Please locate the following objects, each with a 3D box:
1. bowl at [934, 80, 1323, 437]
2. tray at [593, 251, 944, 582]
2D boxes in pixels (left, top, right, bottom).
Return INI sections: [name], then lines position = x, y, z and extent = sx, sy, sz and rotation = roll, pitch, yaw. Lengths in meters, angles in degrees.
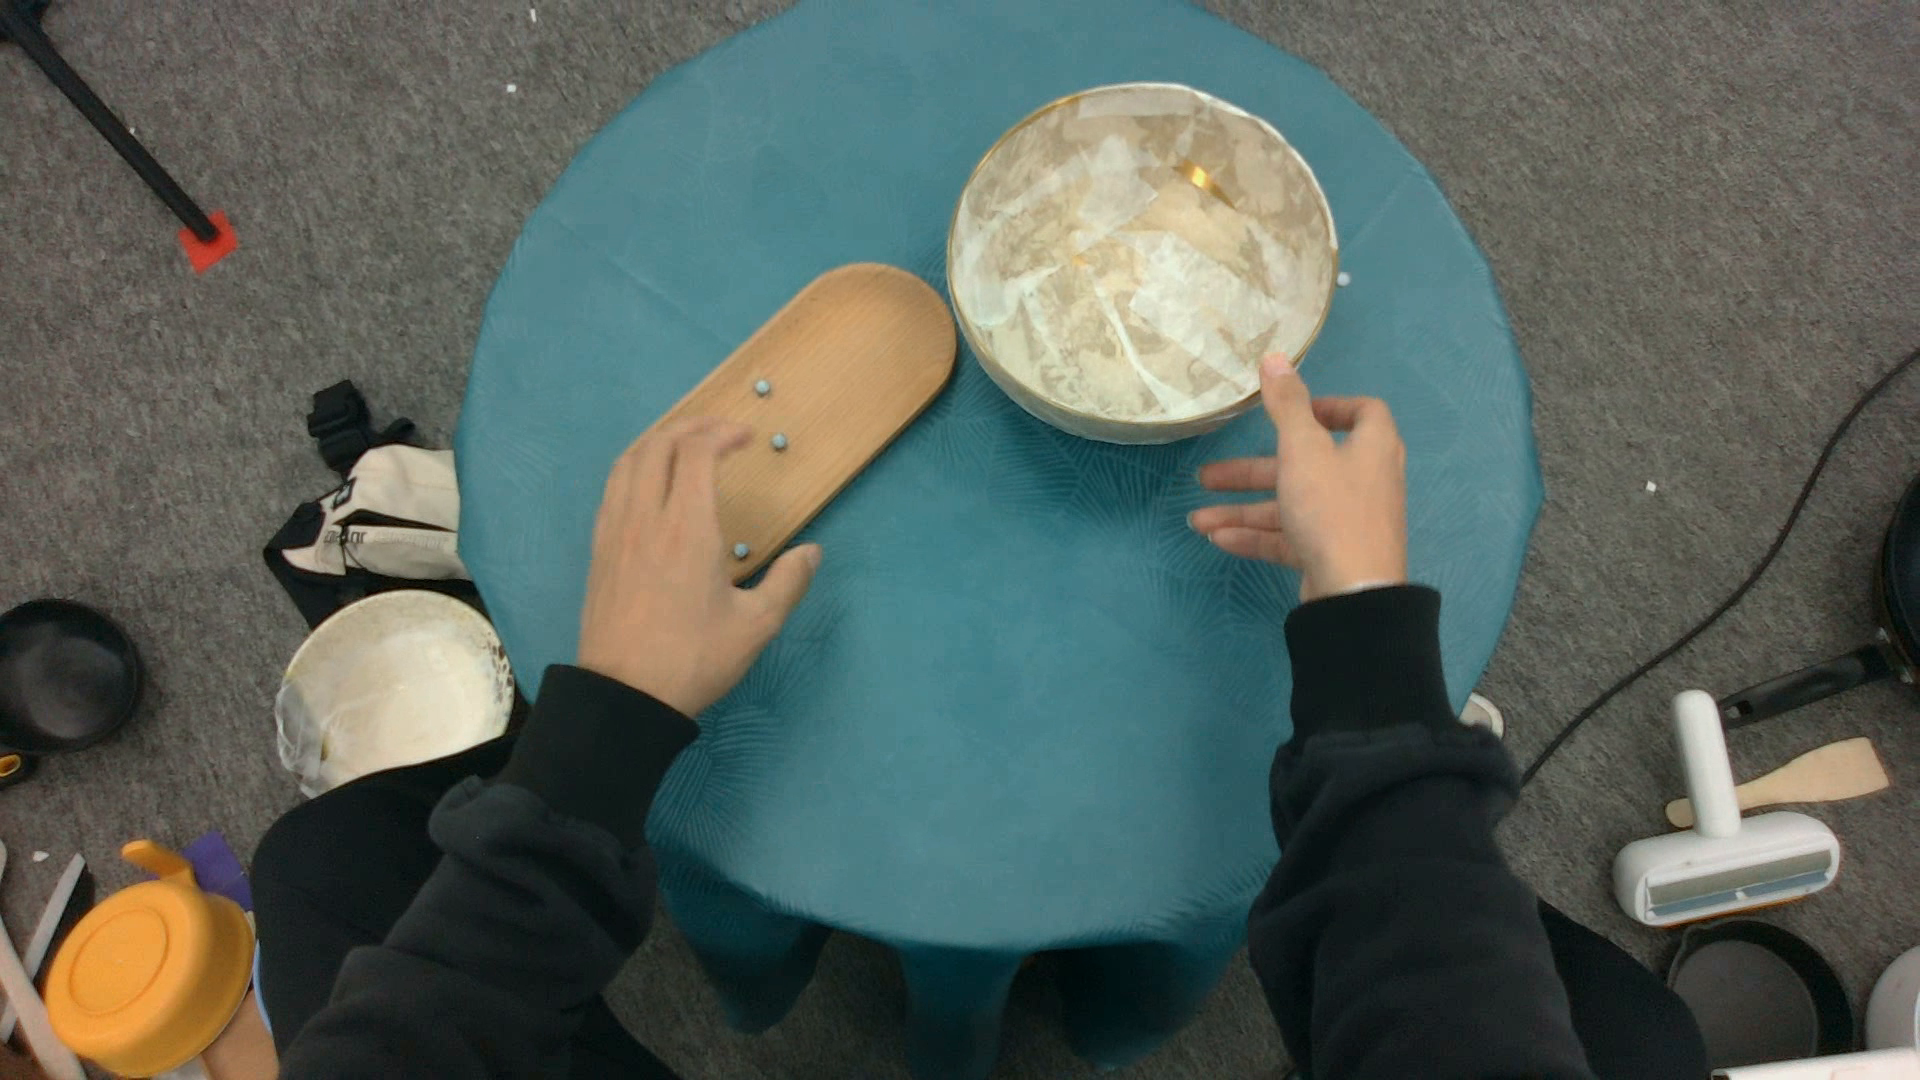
[bowl]
position = 0.083, -0.138, 0.749
extent = 0.215, 0.094, 0.215
rotation = 1, 70, -2
[tray]
position = -0.103, -0.071, 0.761
extent = 0.102, 0.020, 0.232
rotation = 40, 72, 10
